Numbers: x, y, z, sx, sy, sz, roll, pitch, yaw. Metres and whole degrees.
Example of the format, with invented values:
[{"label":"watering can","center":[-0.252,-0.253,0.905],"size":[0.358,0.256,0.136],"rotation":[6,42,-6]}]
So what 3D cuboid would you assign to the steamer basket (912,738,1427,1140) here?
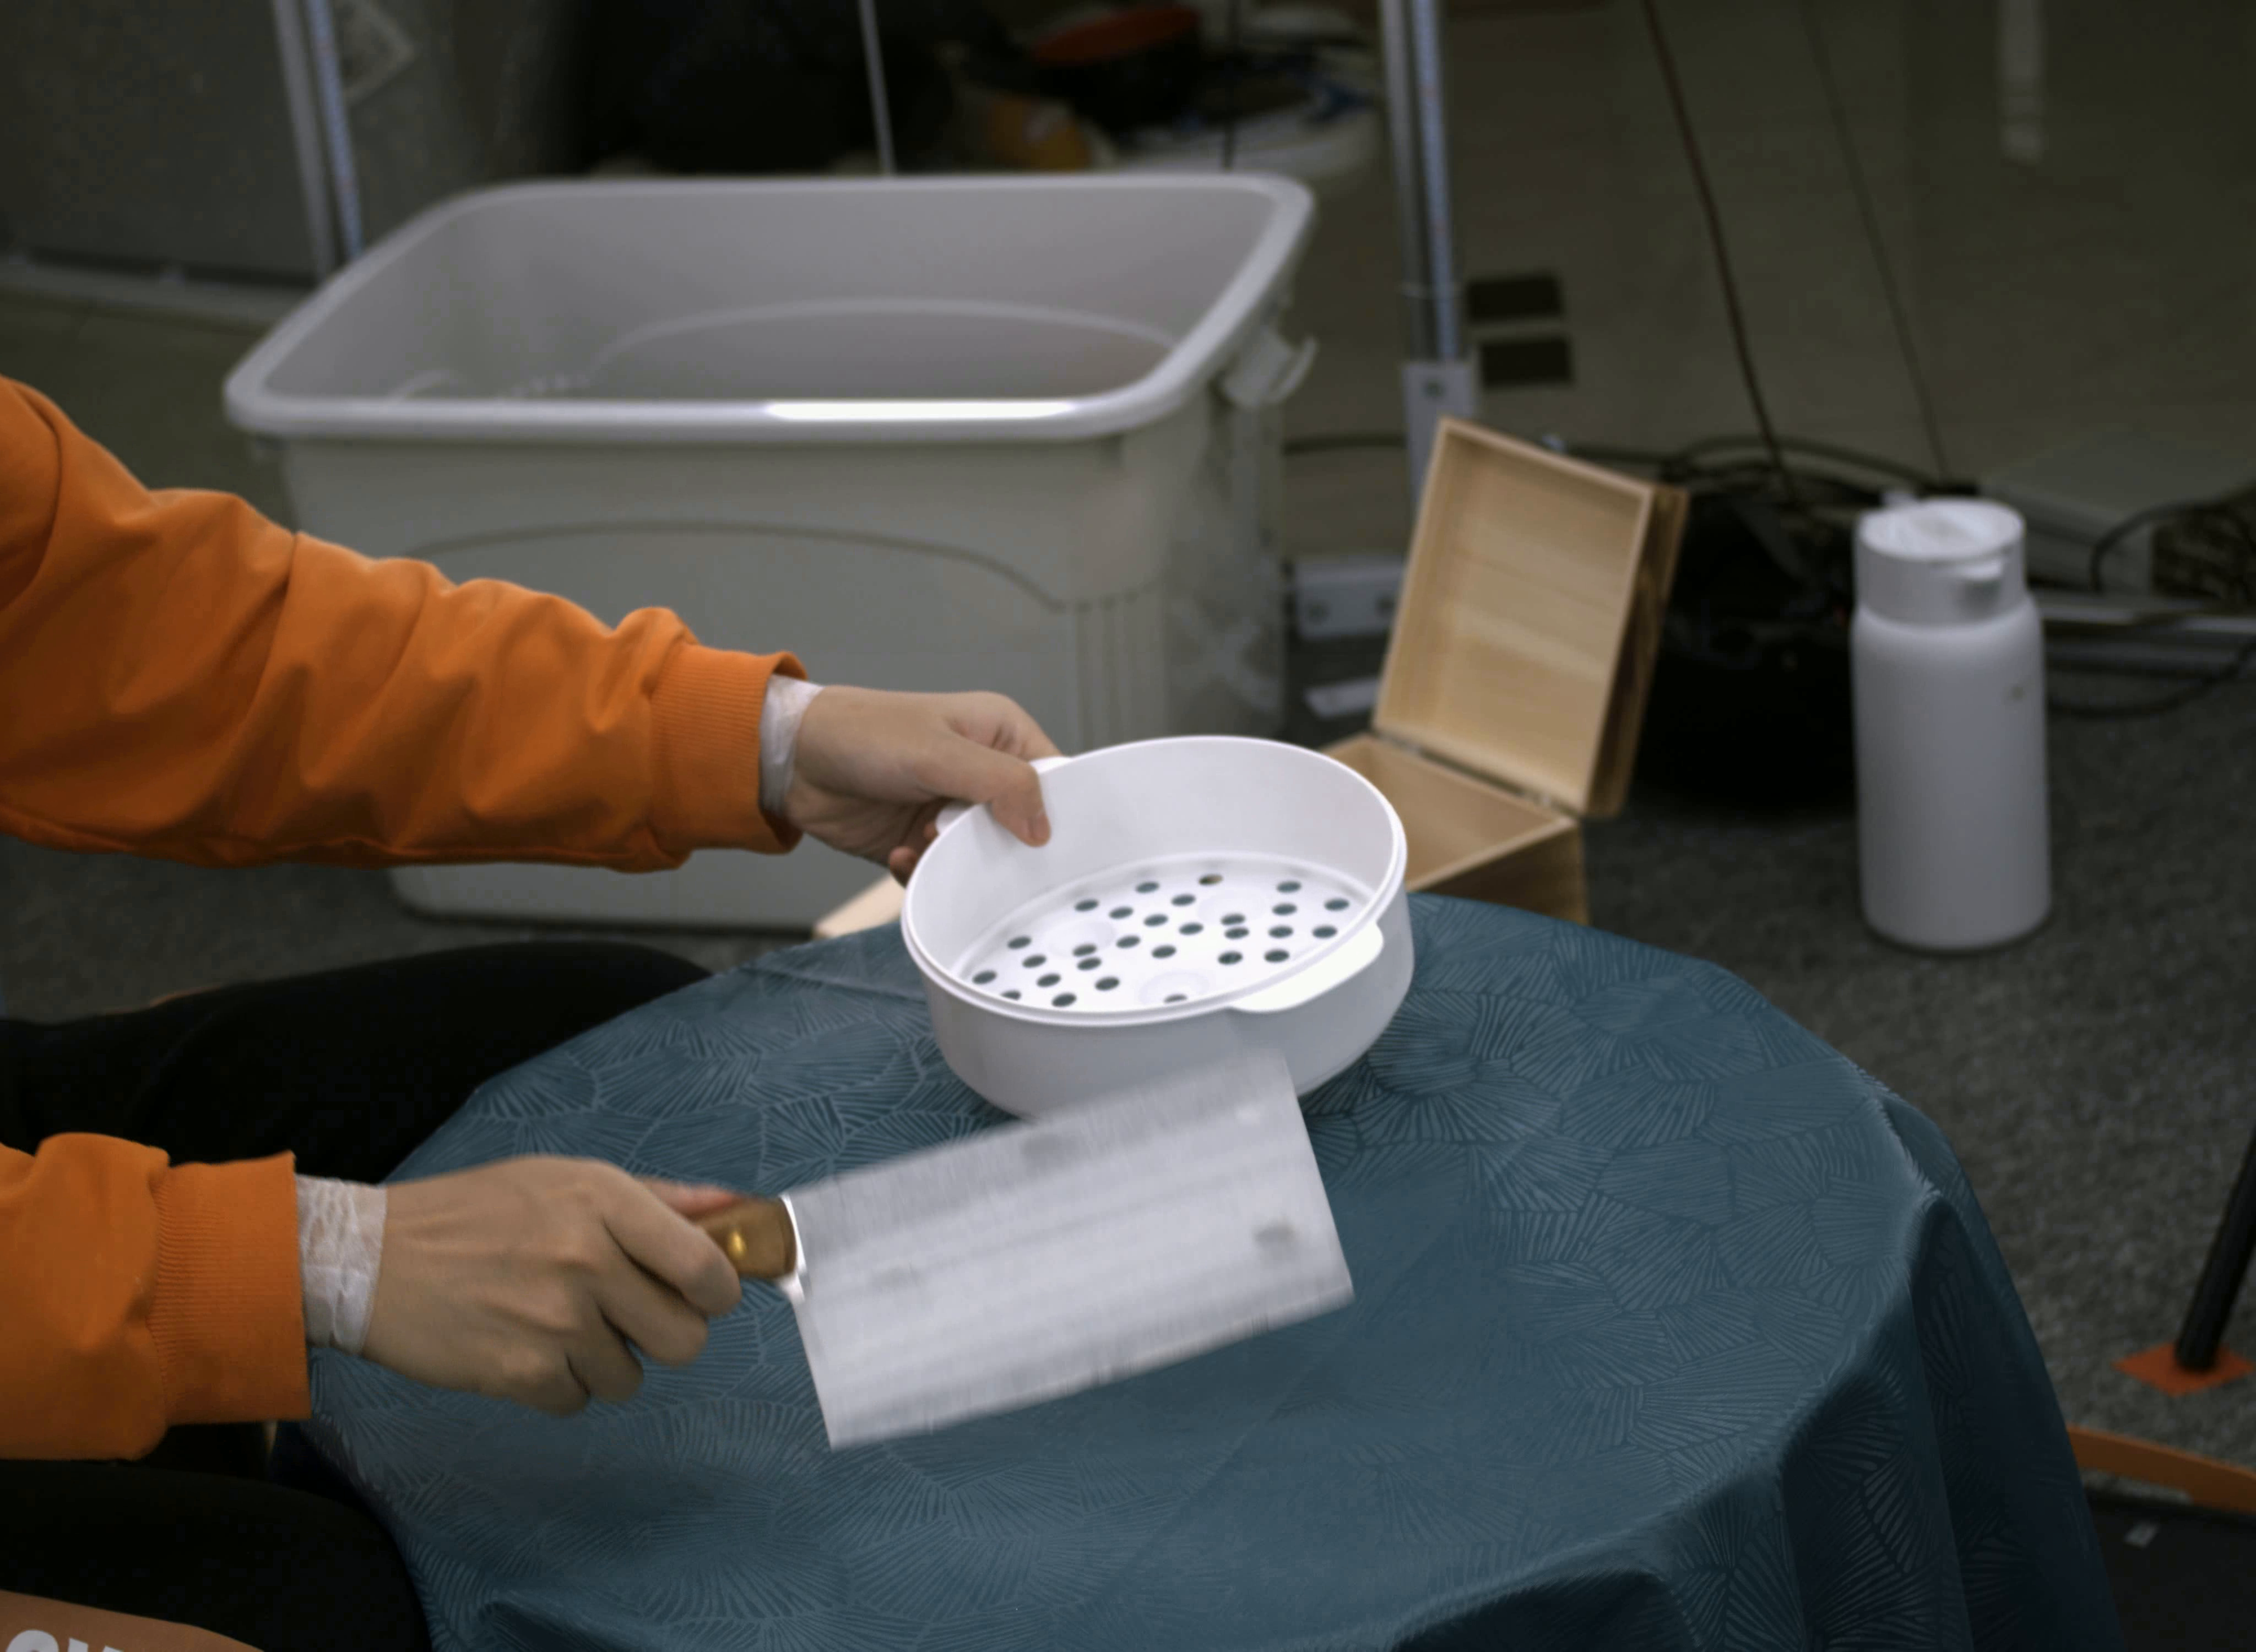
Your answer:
[{"label":"steamer basket","center":[0.019,0.047,2.220],"size":[0.200,0.070,0.228],"rotation":[-30,39,-27]}]

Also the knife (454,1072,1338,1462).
[{"label":"knife","center":[-0.079,0.167,1.963],"size":[0.305,0.093,0.021],"rotation":[-16,0,4]}]
